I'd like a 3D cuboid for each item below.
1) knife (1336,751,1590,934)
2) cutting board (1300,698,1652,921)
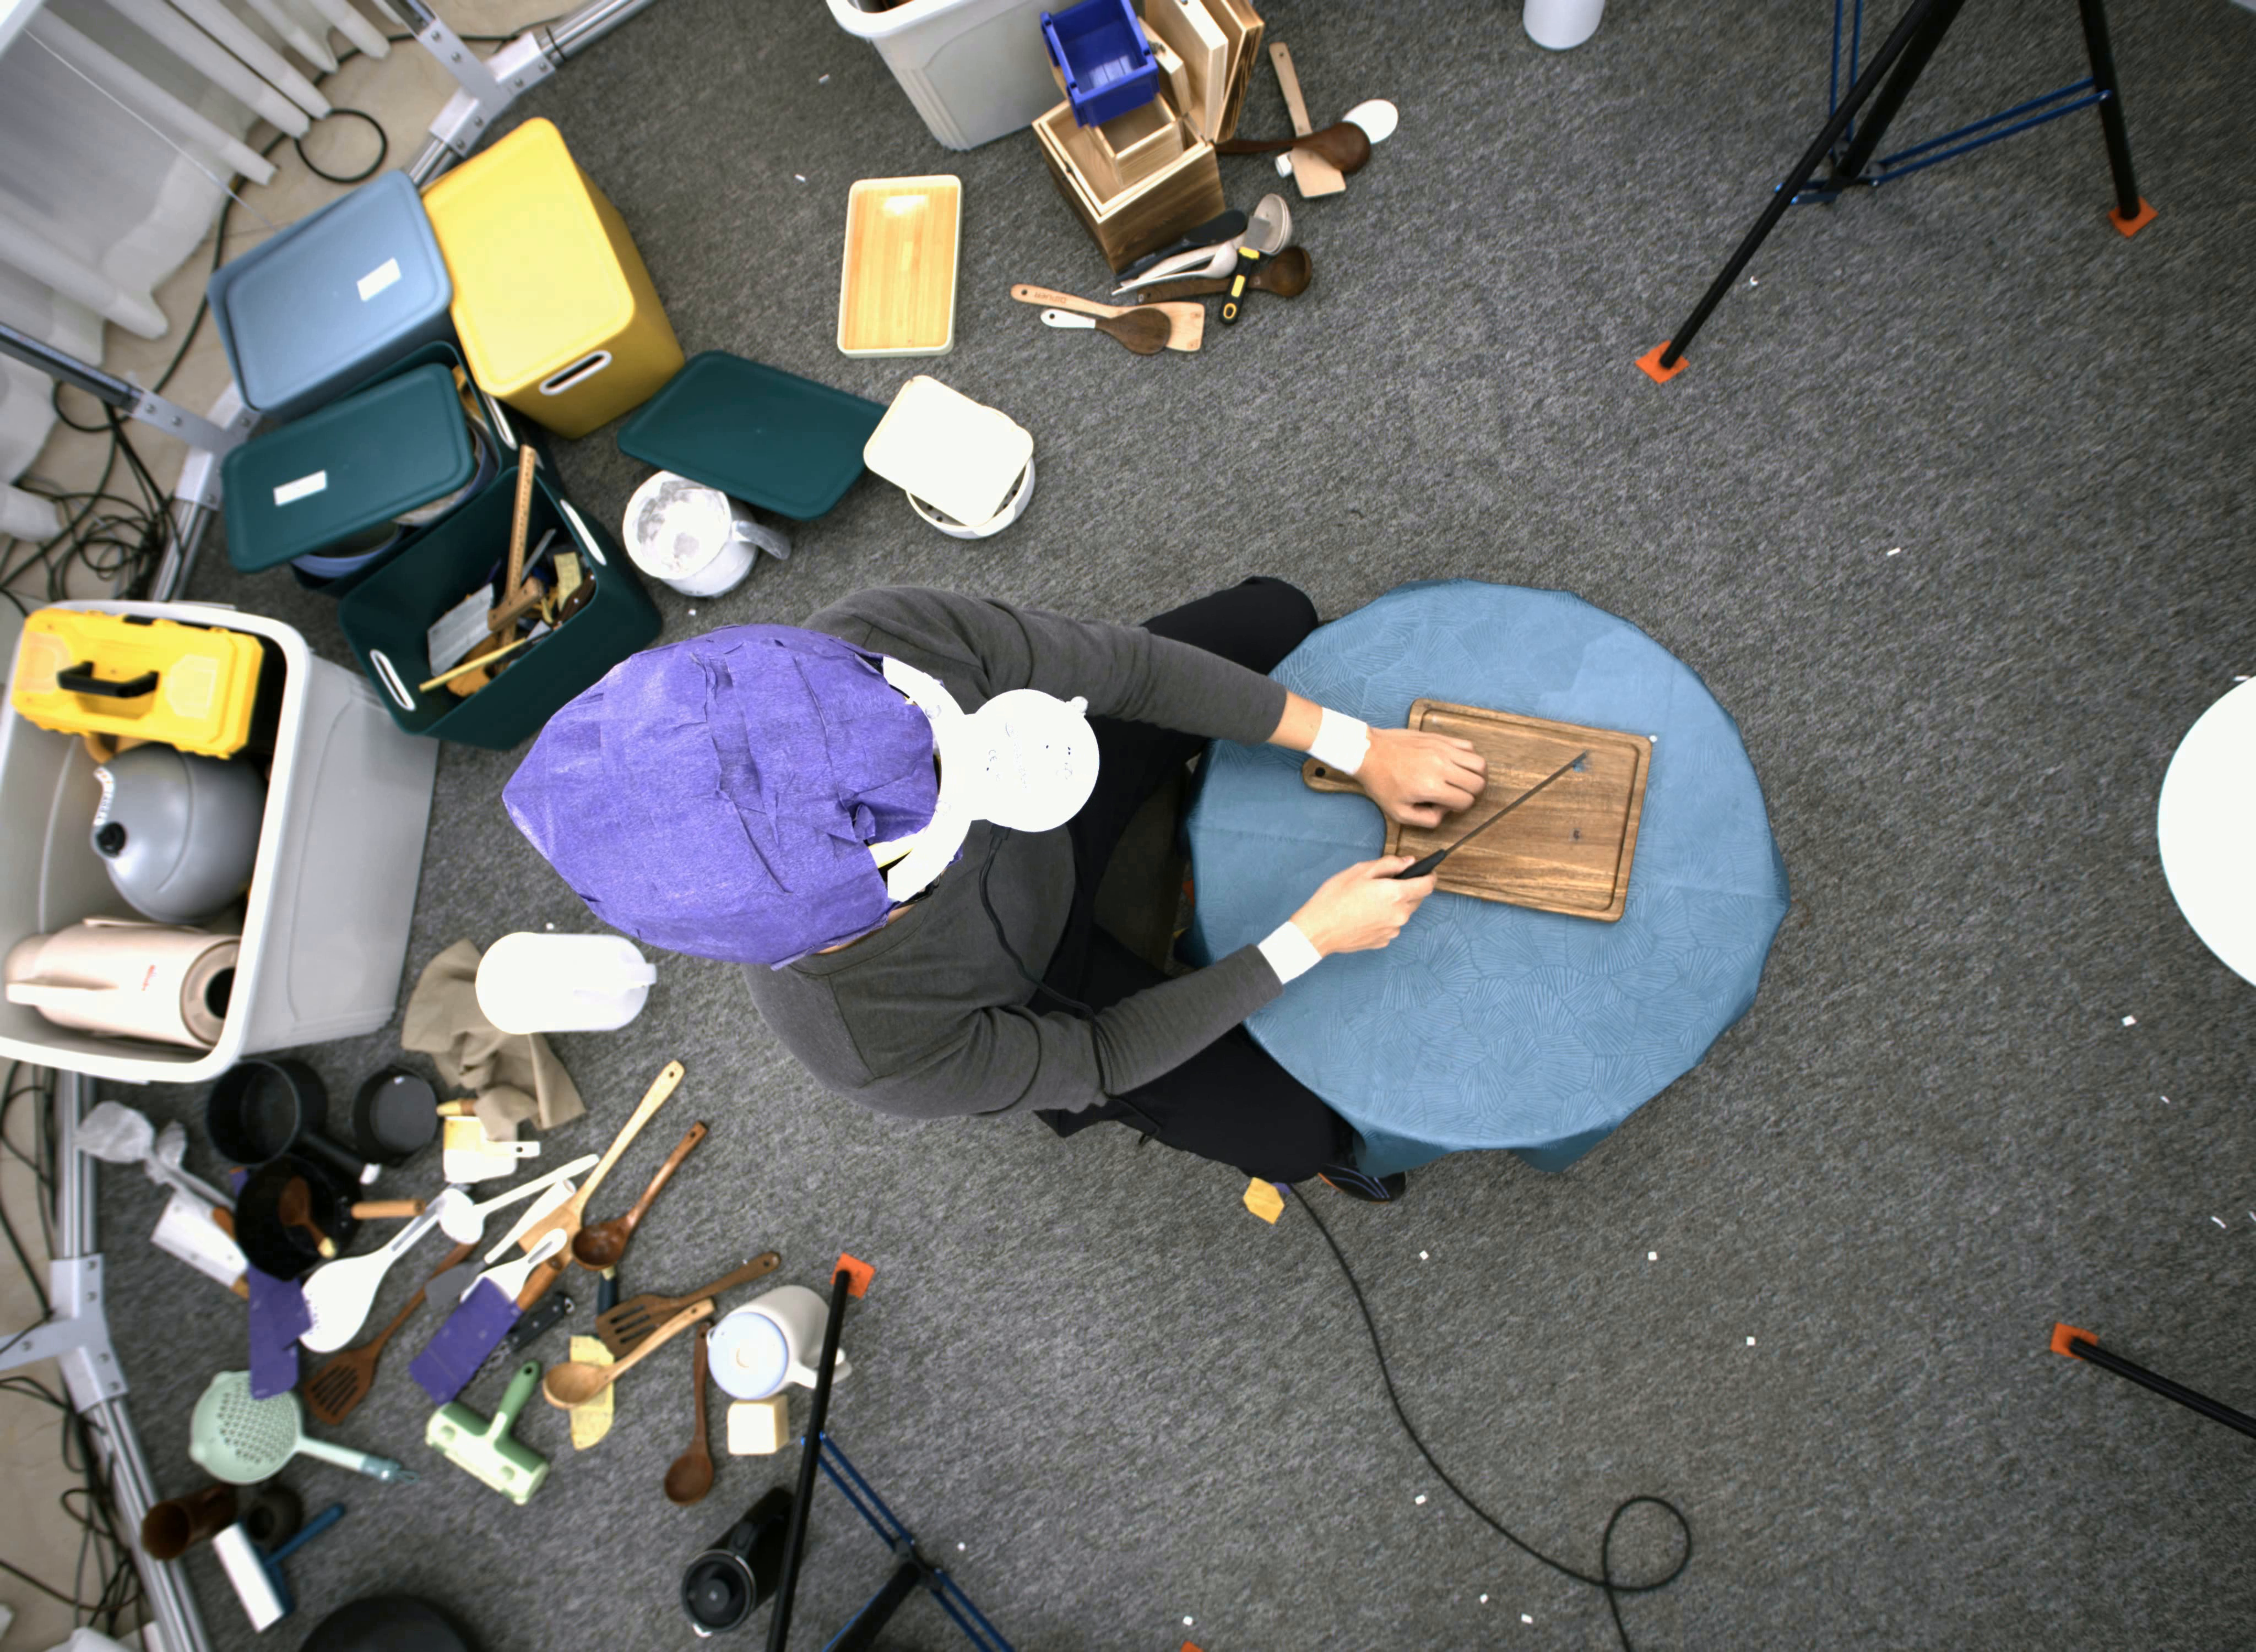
[{"bbox_3d":[0.334,0.014,1.372,0.304,0.081,0.020,-36,76,8],"label":"knife"},{"bbox_3d":[0.355,-0.030,1.439,0.353,0.023,0.200,10,88,11],"label":"cutting board"}]
